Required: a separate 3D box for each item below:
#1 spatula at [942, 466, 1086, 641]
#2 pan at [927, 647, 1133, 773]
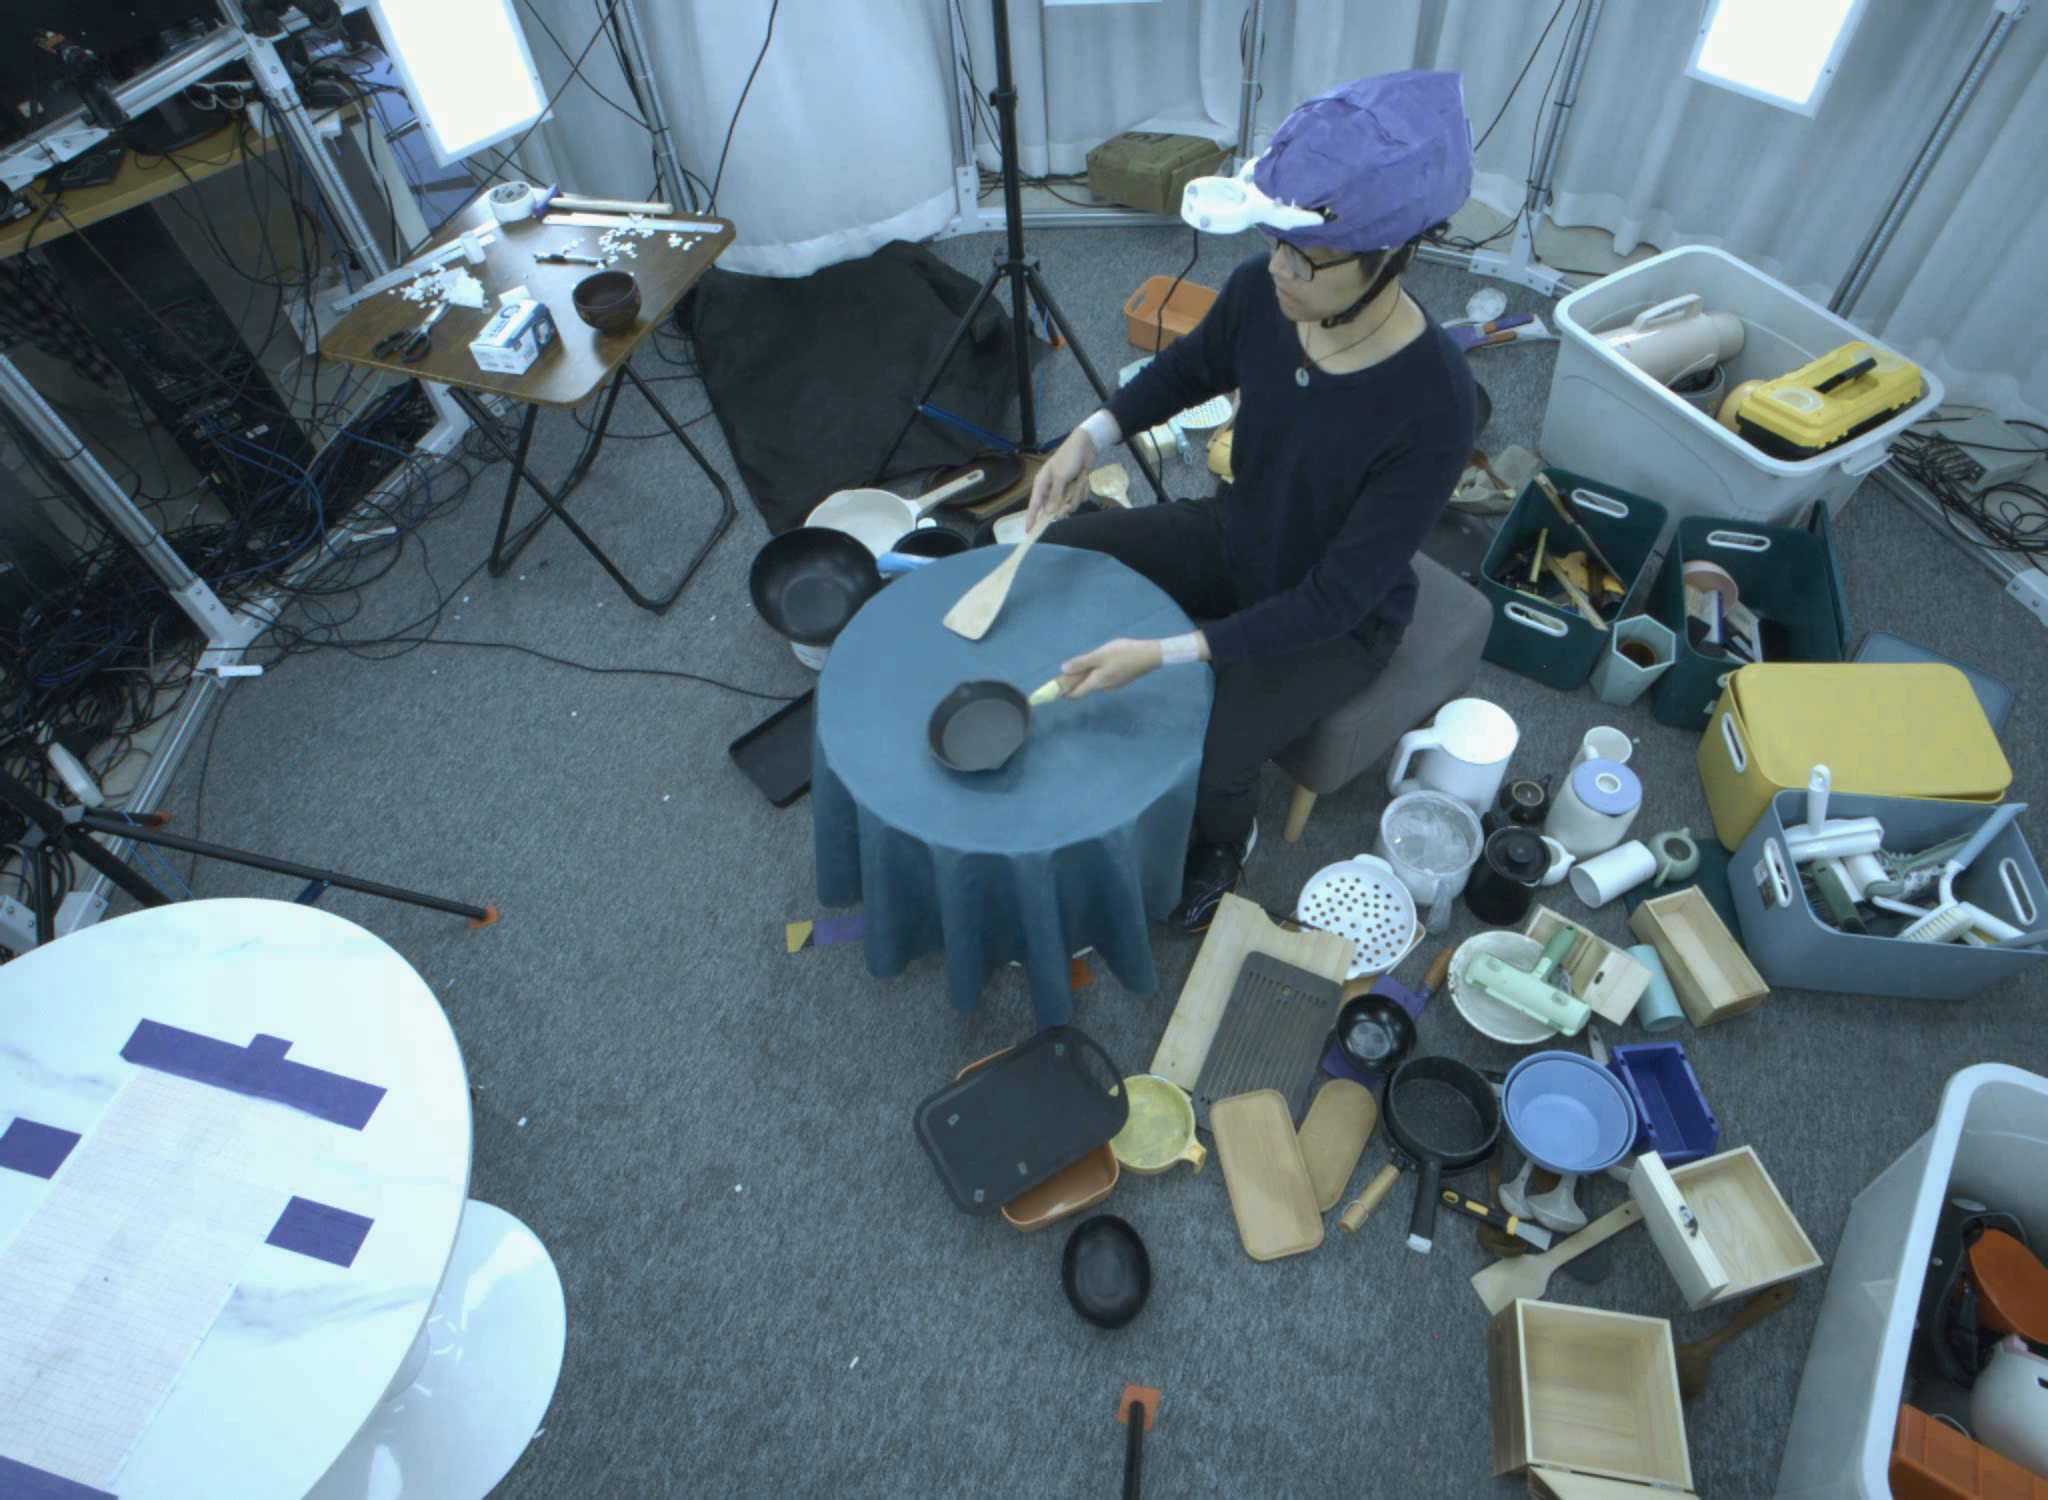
[{"bbox_3d":[-0.008,-0.308,1.904,0.078,0.017,0.327,40,97,28],"label":"spatula"},{"bbox_3d":[0.014,-0.068,1.770,0.324,0.050,0.166,-24,56,1],"label":"pan"}]
